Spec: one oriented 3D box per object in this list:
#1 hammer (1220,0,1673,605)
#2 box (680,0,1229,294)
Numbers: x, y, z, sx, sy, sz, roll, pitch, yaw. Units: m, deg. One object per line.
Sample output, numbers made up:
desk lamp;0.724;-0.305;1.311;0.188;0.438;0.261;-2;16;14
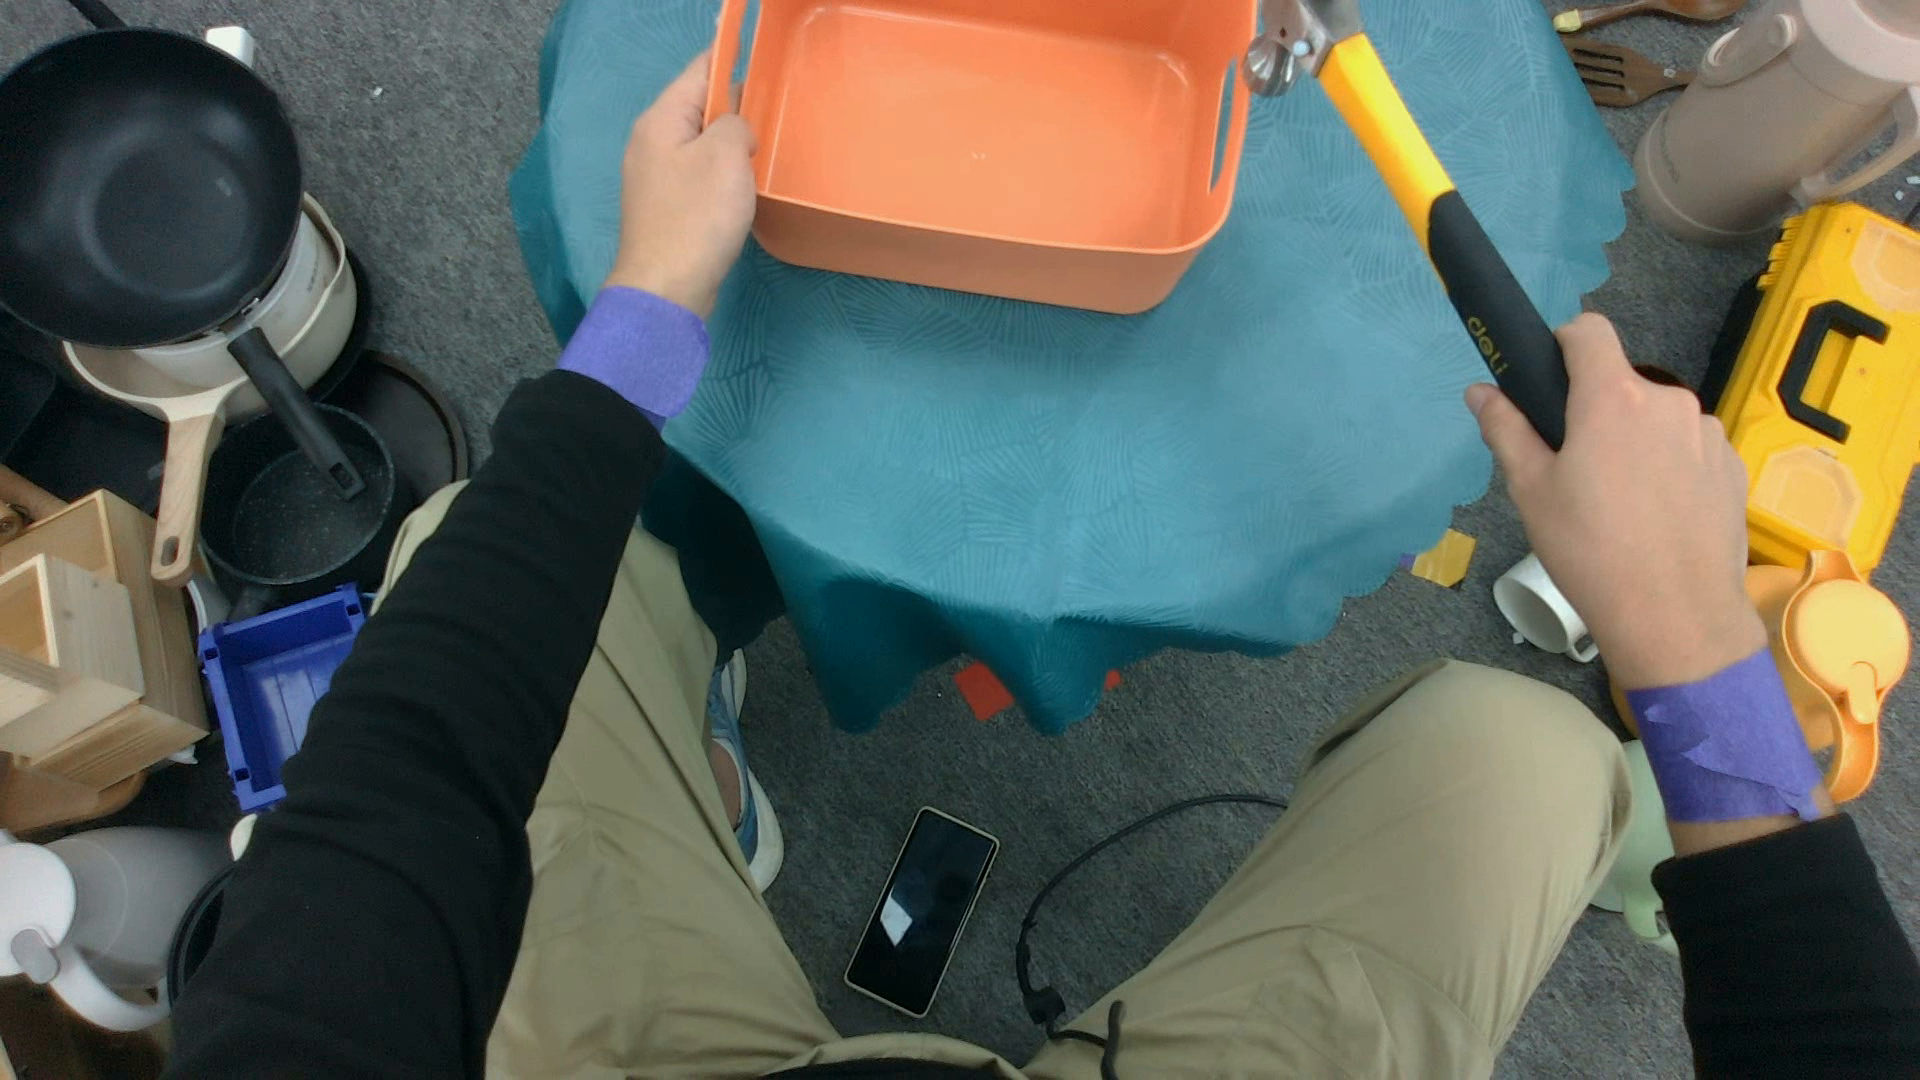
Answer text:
hammer;0.215;-0.125;0.614;0.032;0.131;0.339;-25;80;-7
box;-0.001;-0.242;0.749;0.273;0.102;0.200;8;76;0
